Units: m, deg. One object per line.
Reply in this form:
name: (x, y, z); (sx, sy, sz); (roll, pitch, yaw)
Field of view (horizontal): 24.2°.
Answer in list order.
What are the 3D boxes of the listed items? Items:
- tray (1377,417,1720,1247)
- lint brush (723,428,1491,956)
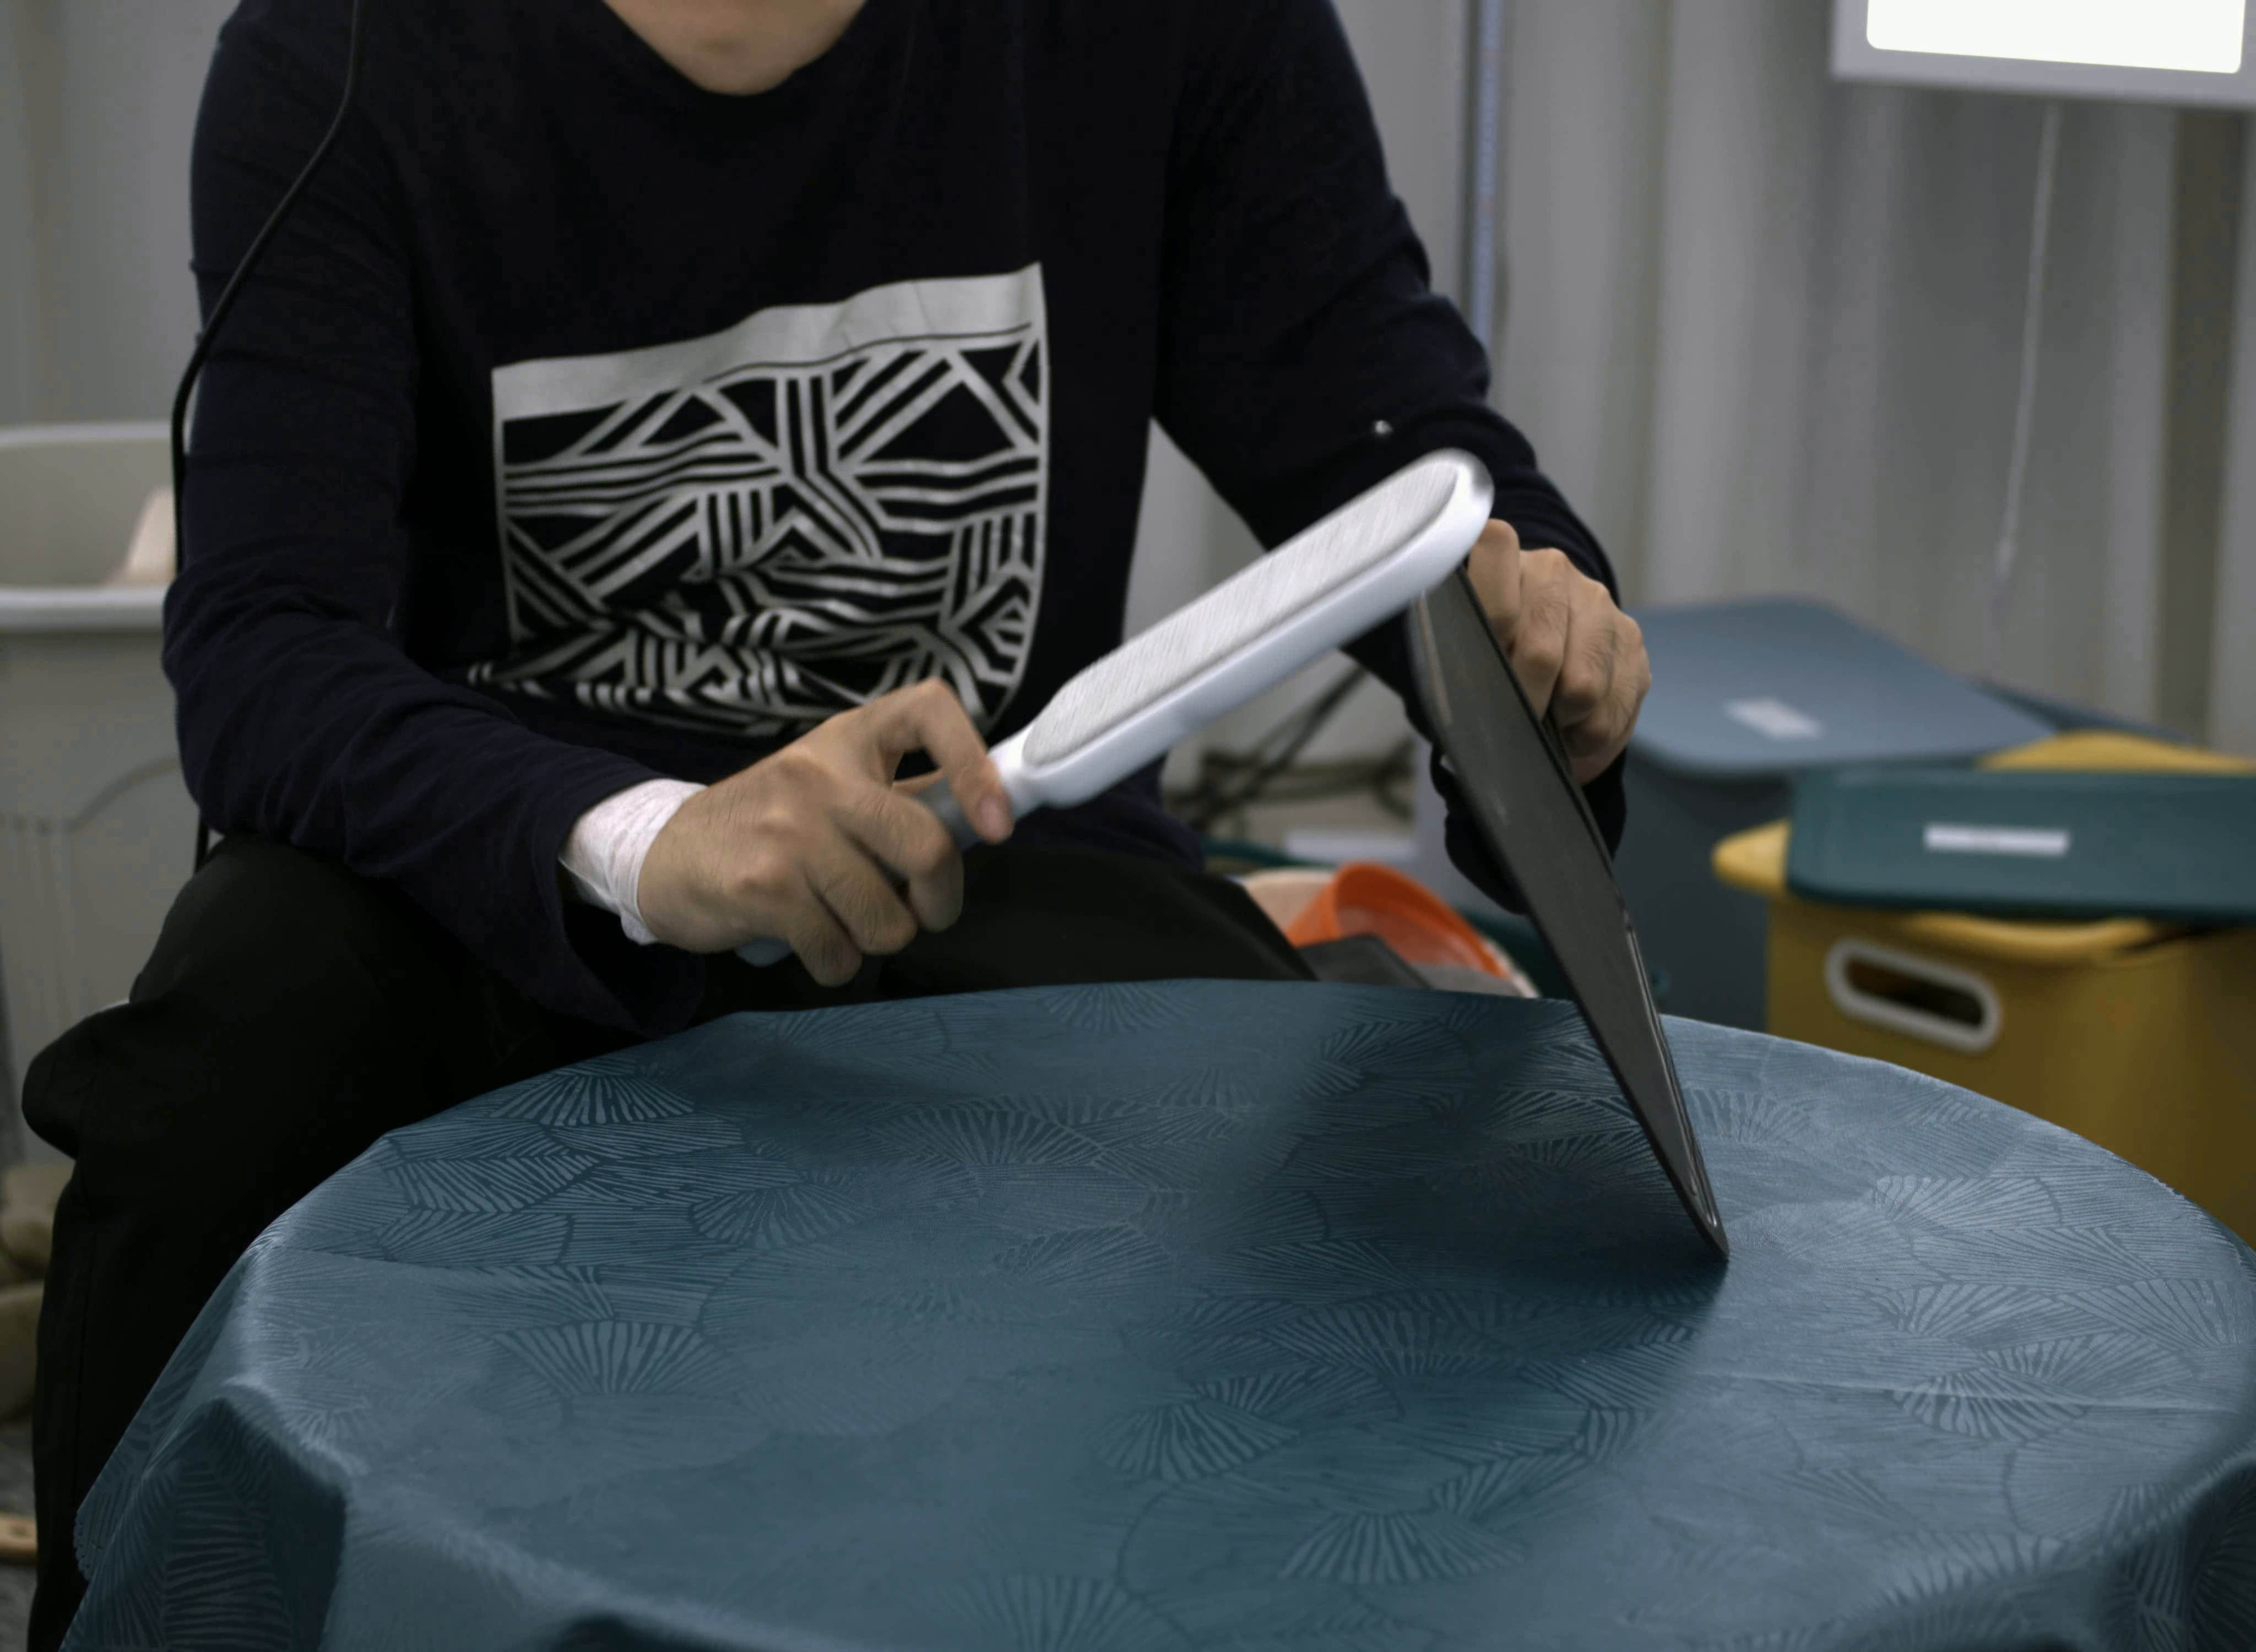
tray: (0.130, -0.009, 1.654); (0.010, 0.213, 0.323); (-25, 20, 9)
lint brush: (-0.011, -0.037, 1.634); (0.308, 0.021, 0.059); (-32, 29, 27)
